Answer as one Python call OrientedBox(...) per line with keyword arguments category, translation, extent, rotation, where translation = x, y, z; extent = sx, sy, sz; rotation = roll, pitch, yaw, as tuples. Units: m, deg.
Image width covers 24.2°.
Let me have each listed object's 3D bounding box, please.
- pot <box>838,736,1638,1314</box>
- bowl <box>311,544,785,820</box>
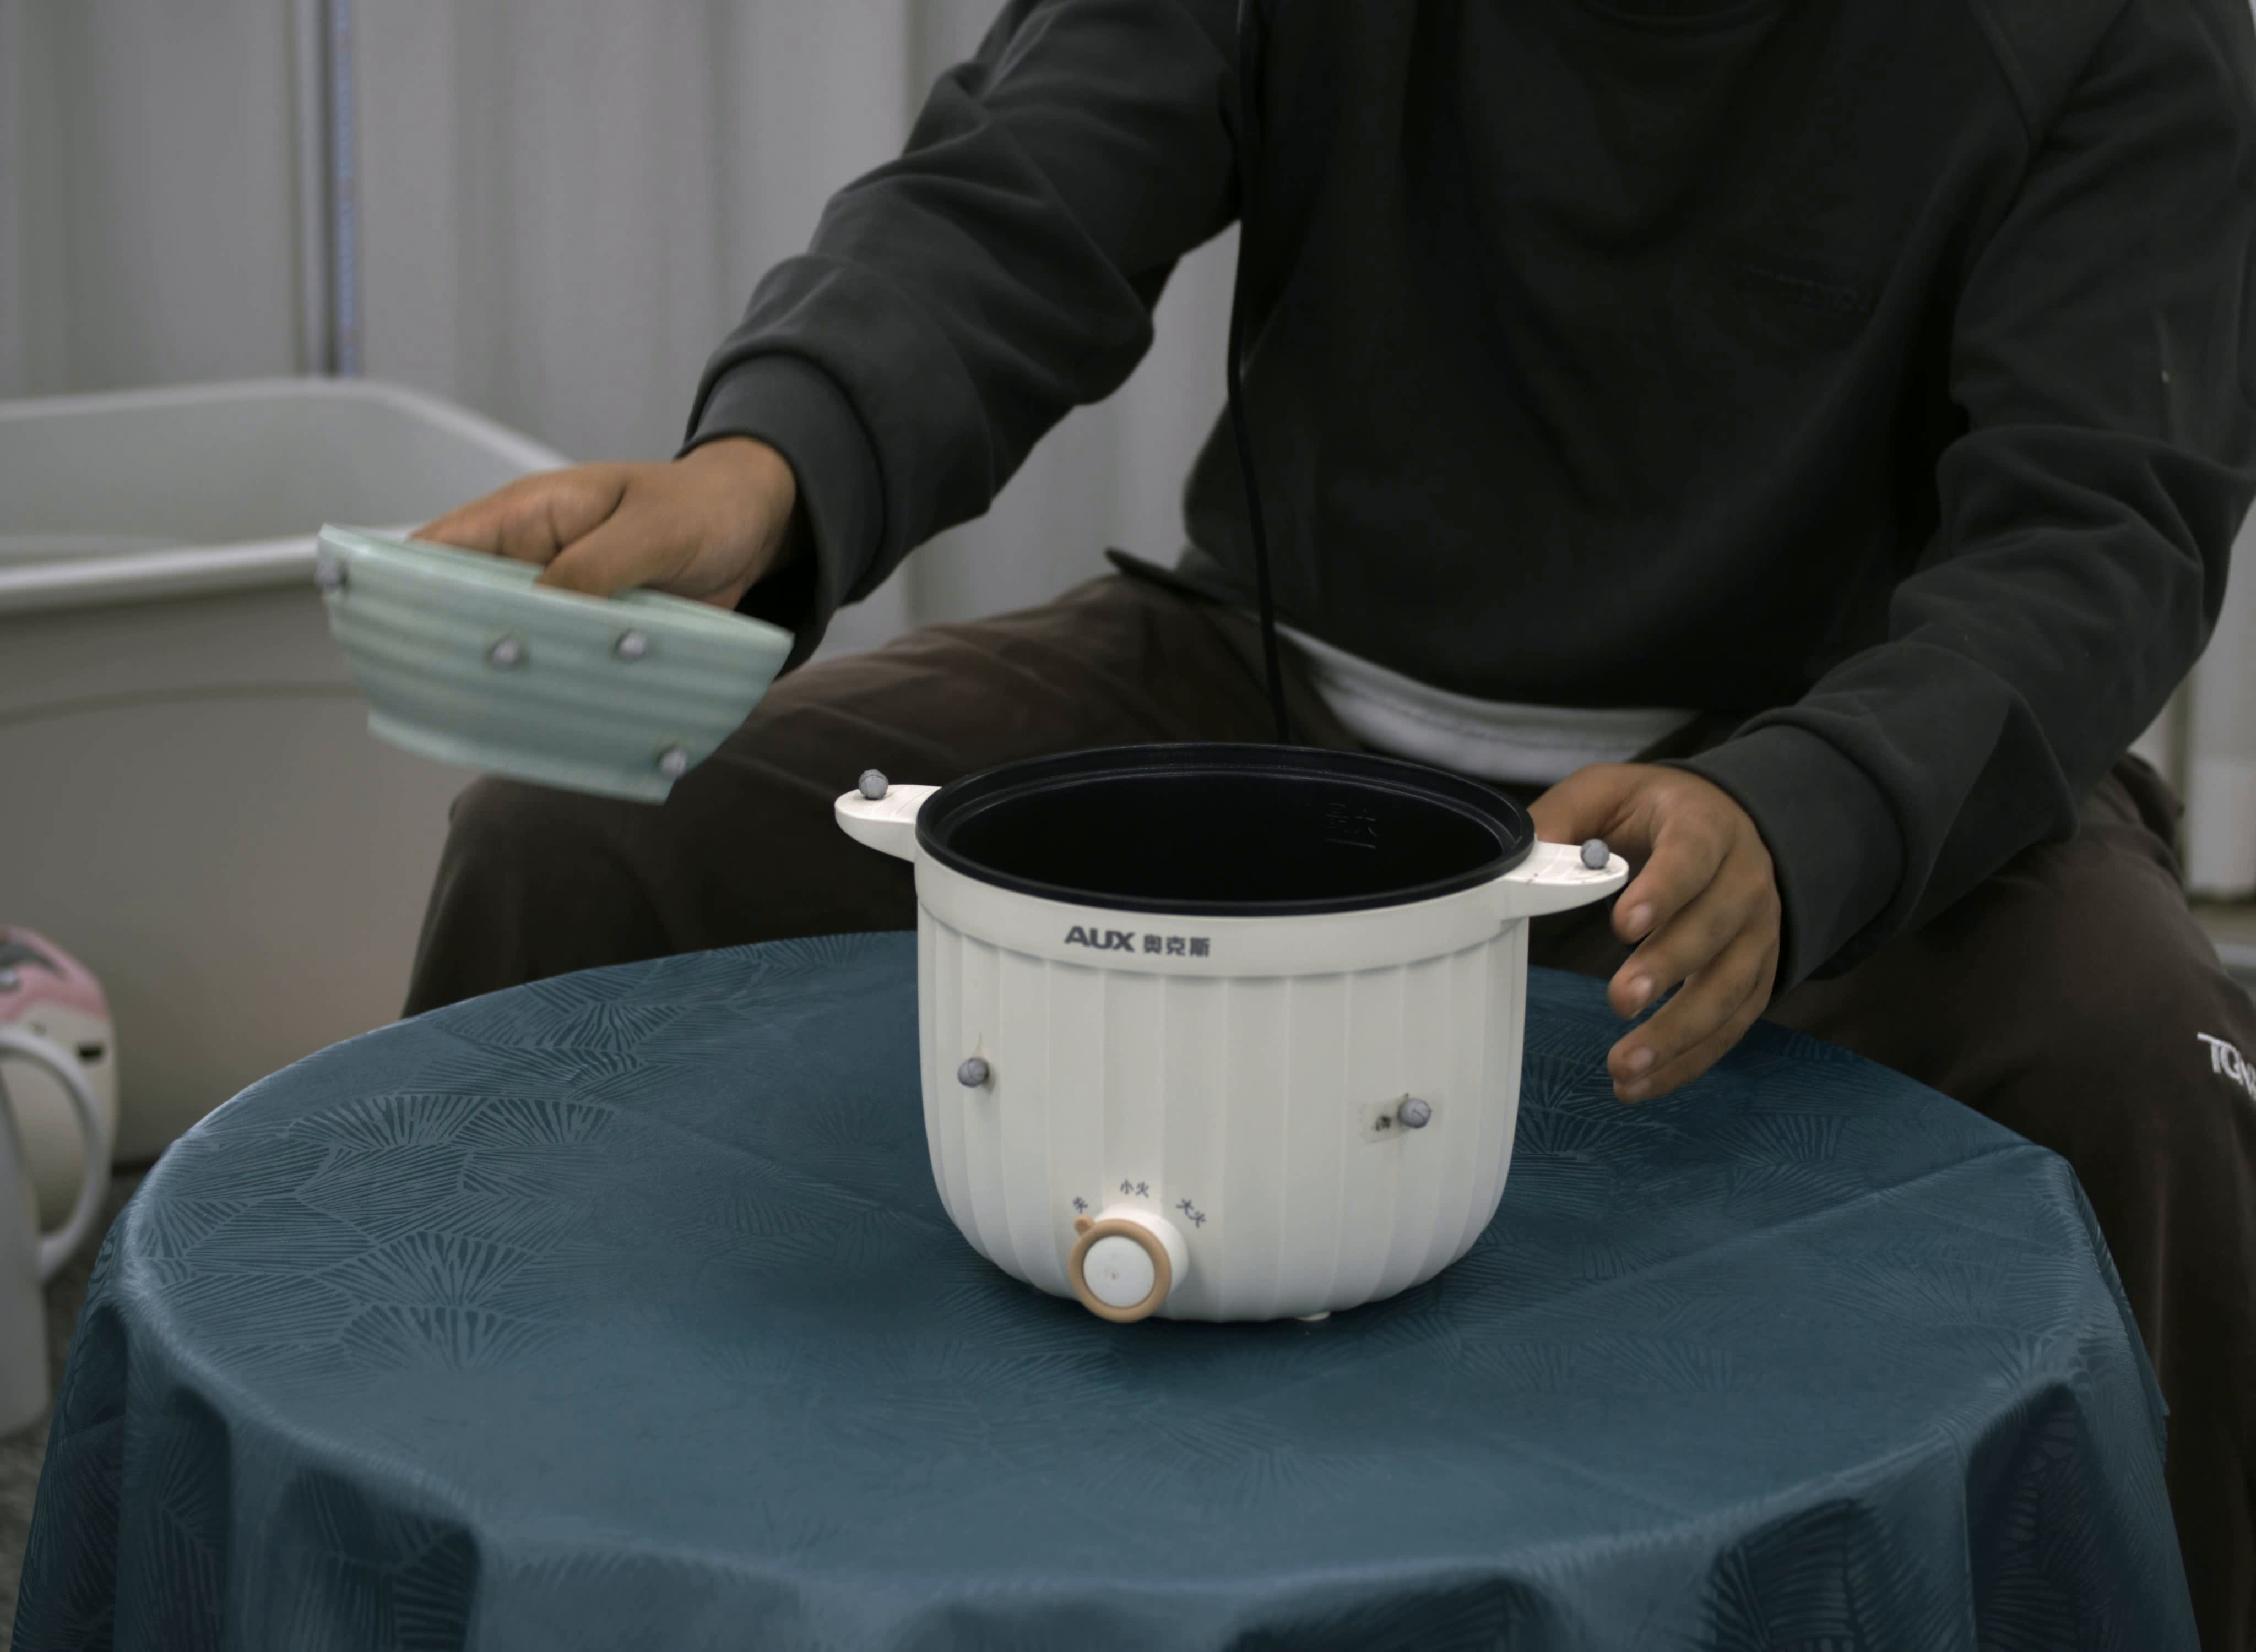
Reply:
OrientedBox(category="pot", translation=(0.030, 0.061, 1.547), extent=(0.238, 0.143, 0.190), rotation=(3, 13, 15))
OrientedBox(category="bowl", translation=(-0.181, -0.041, 1.594), extent=(0.151, 0.059, 0.151), rotation=(13, 6, -1))
